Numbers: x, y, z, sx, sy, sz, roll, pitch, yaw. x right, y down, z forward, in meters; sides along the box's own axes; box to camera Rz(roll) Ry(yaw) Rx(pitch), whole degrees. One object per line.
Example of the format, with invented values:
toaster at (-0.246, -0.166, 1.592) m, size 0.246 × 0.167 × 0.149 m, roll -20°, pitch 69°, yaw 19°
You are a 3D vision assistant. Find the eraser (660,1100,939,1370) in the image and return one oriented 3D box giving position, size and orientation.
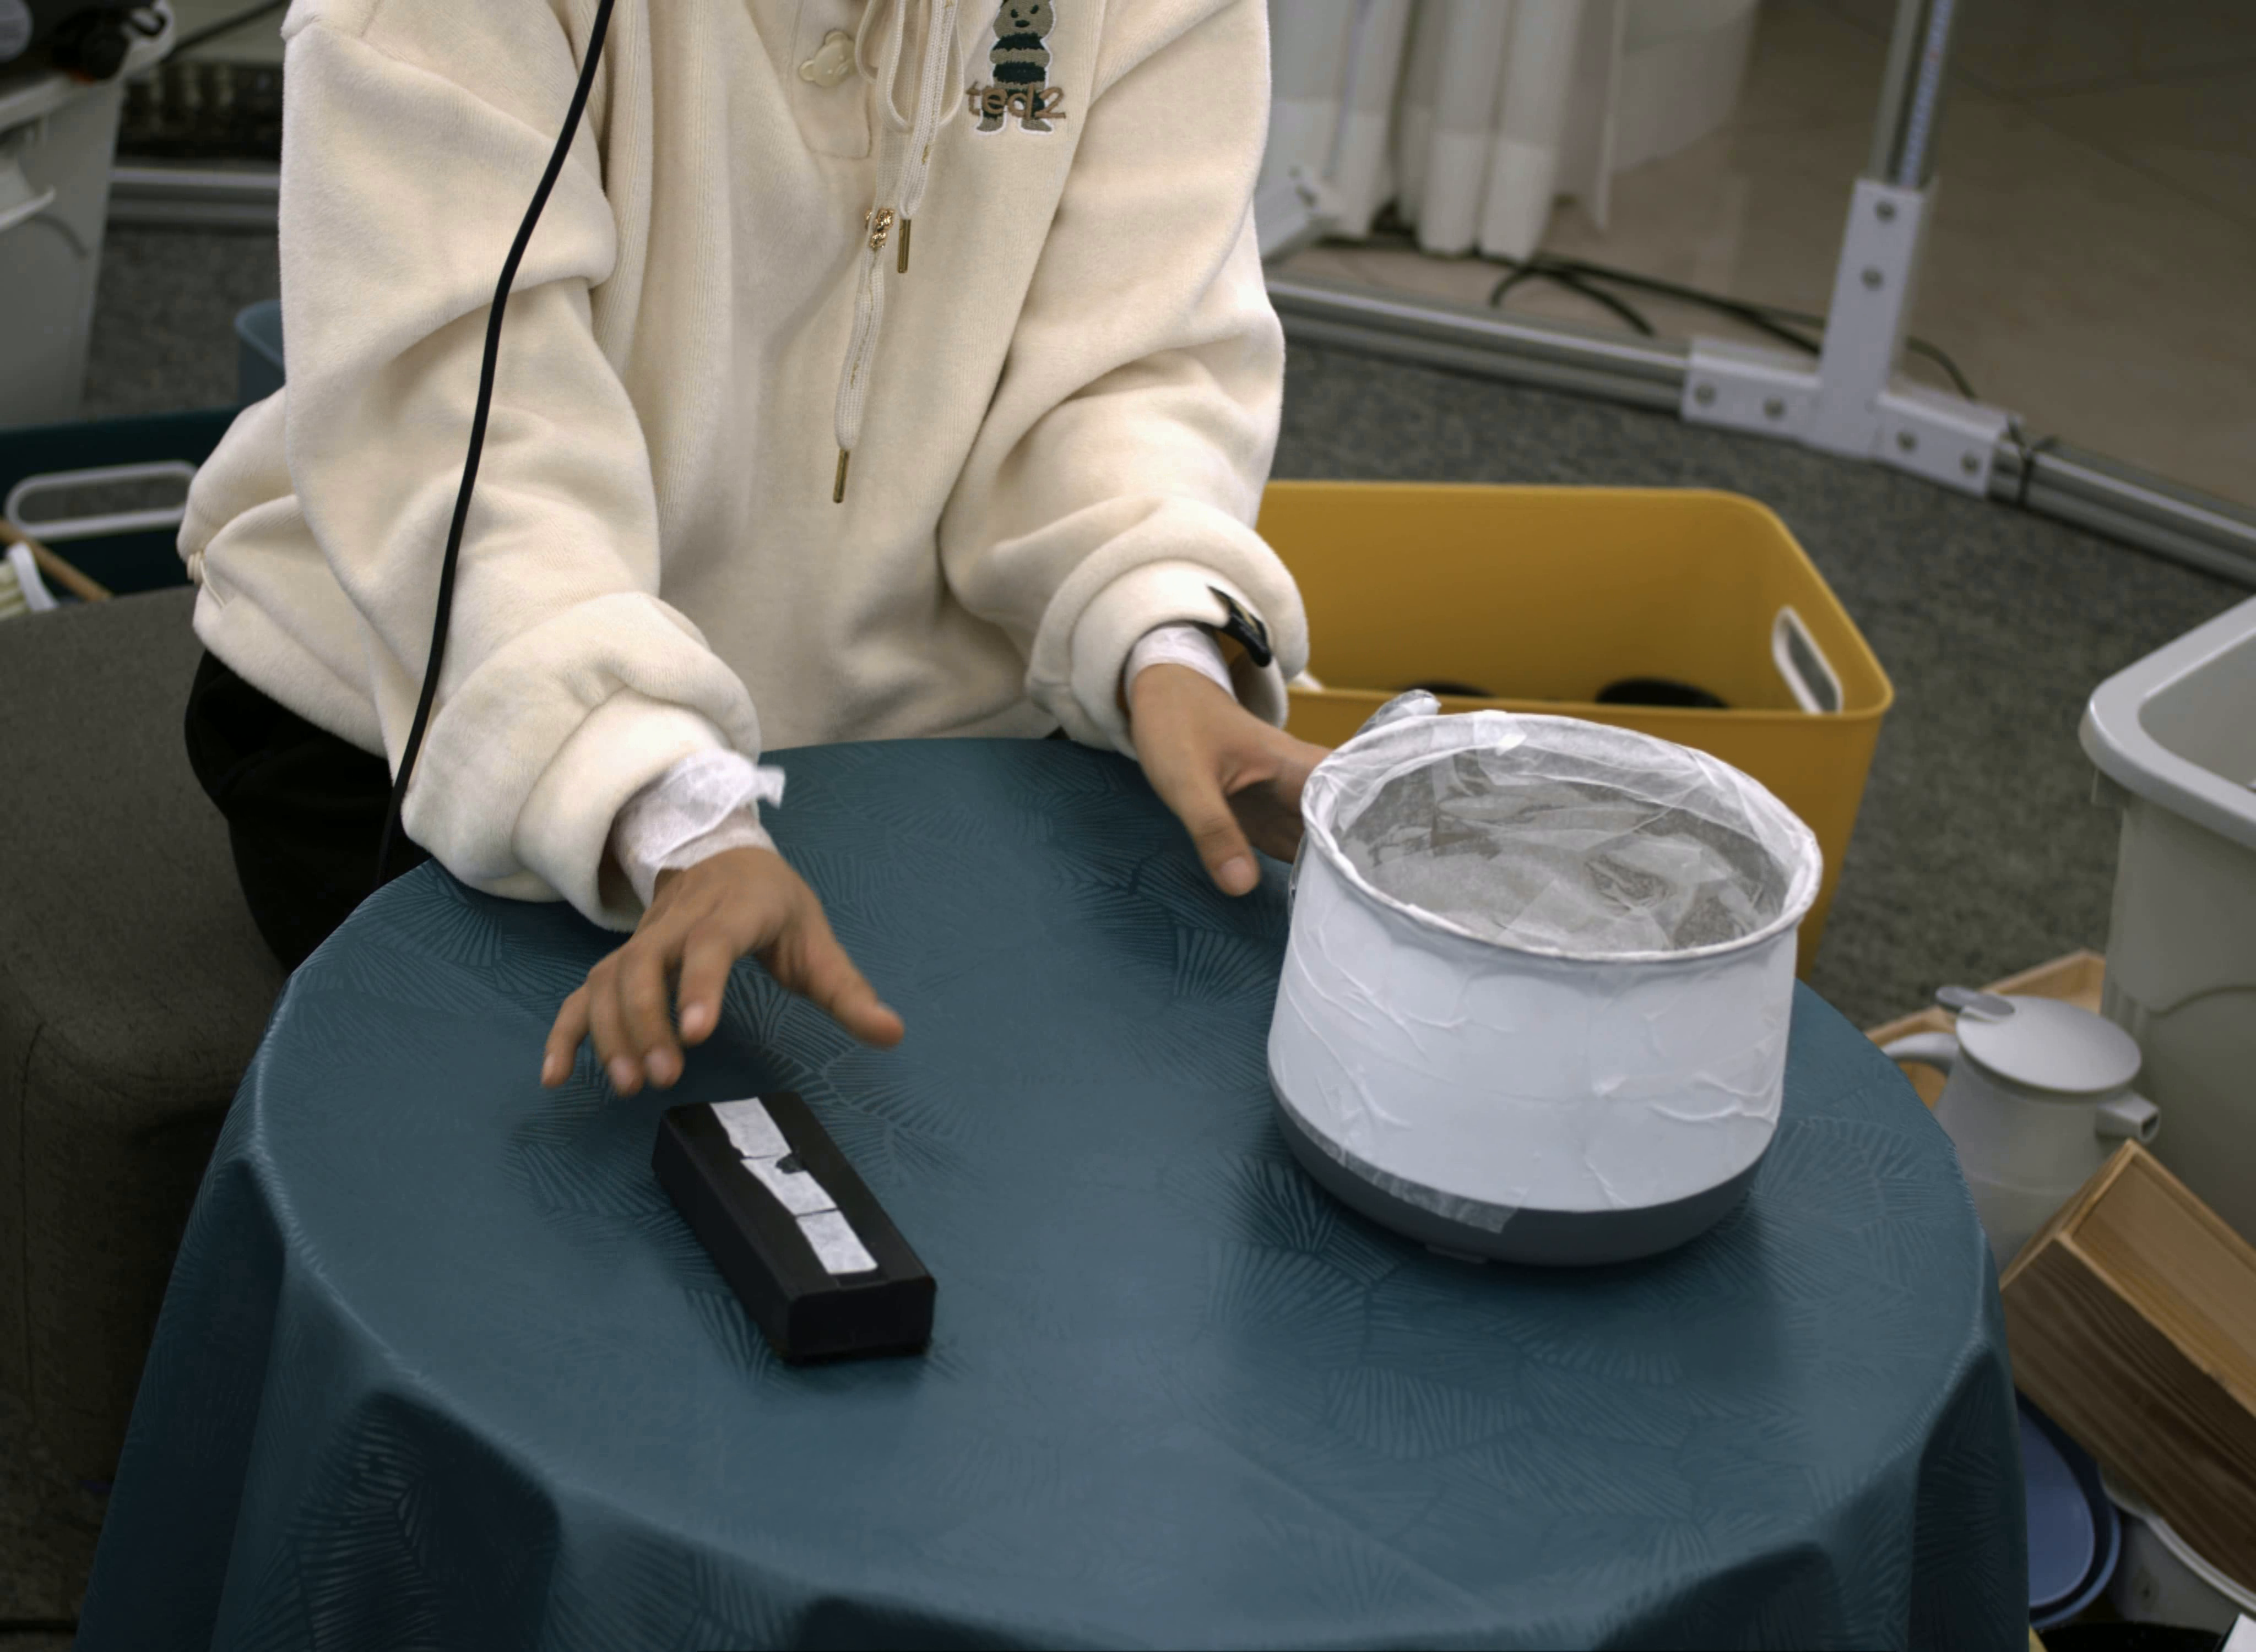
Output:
eraser at (-0.108, 0.132, 1.731) m, size 0.053 × 0.030 × 0.126 m, roll -5°, pitch 28°, yaw -23°

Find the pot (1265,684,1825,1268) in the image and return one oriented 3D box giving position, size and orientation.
pot at (0.126, 0.044, 1.833) m, size 0.177 × 0.136 × 0.236 m, roll -8°, pitch 31°, yaw -27°
